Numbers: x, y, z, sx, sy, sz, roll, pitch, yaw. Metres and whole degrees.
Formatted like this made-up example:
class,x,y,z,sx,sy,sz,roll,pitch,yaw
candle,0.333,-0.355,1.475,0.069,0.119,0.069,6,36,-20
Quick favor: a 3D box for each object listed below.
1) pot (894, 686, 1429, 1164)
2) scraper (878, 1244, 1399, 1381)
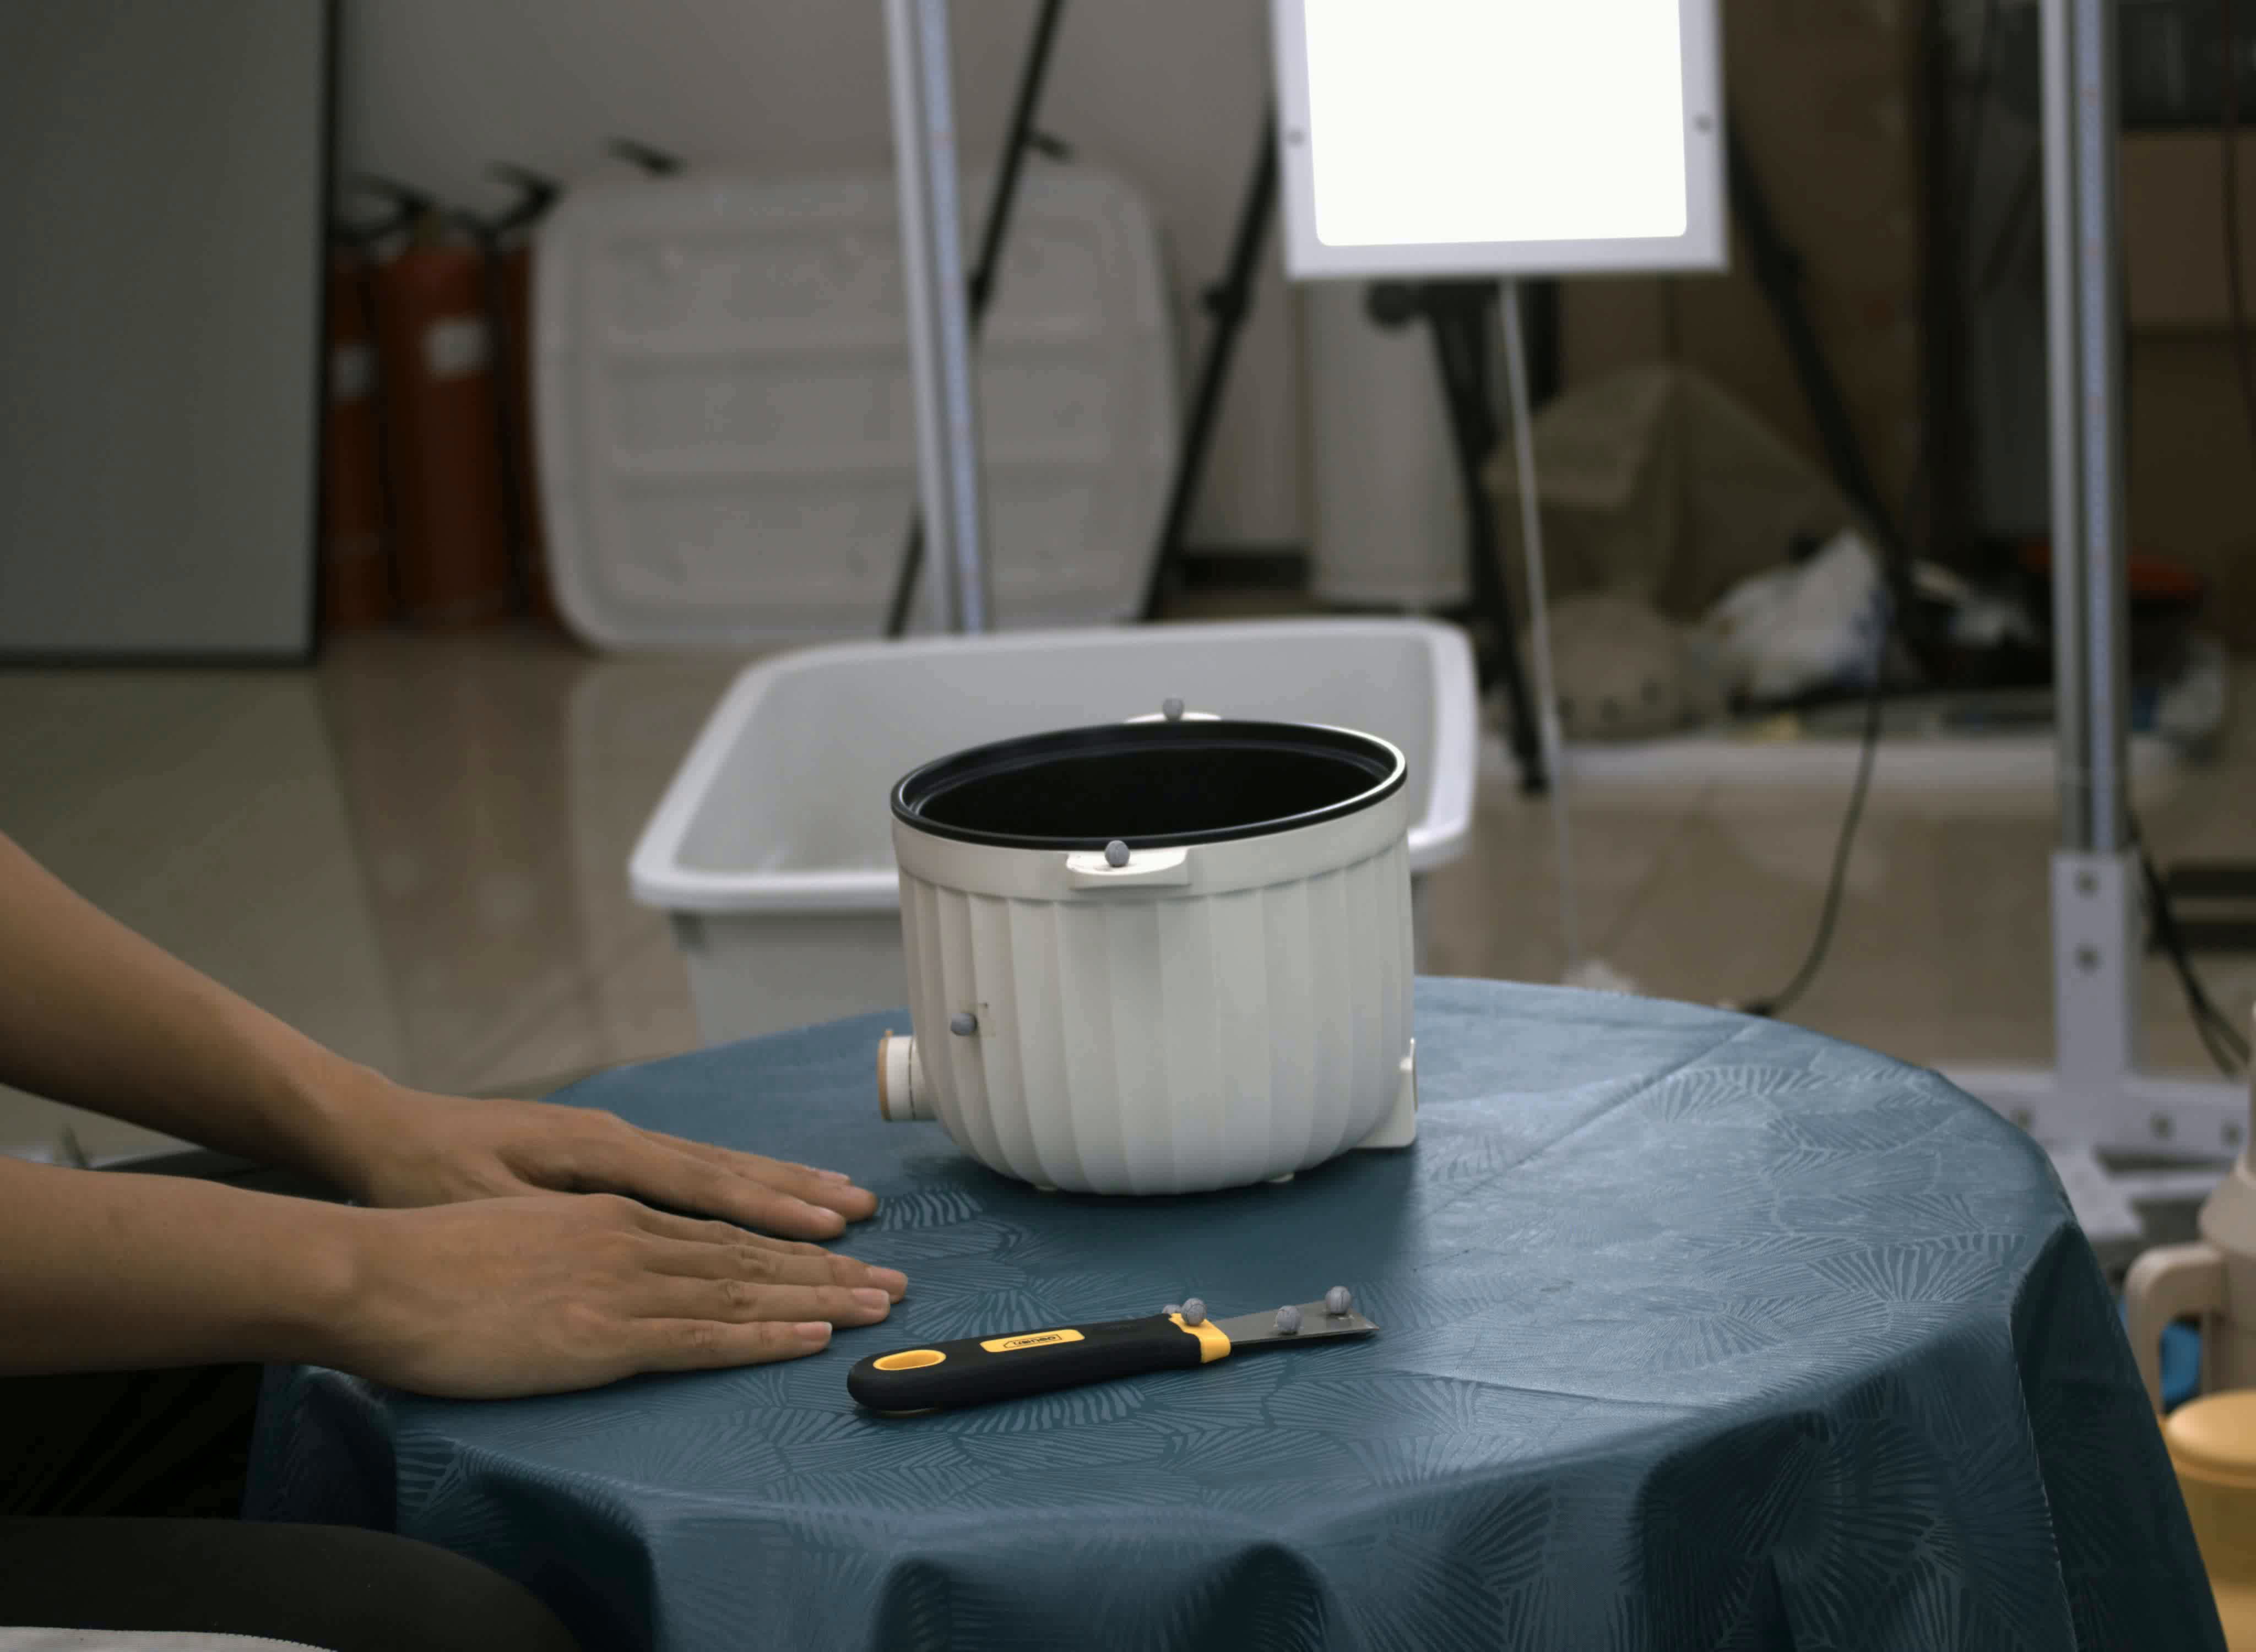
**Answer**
class,x,y,z,sx,sy,sz,roll,pitch,yaw
pot,0.012,0.038,1.942,0.191,0.143,0.239,0,13,5
scraper,0.003,0.152,1.729,0.168,0.015,0.039,-8,19,-19
